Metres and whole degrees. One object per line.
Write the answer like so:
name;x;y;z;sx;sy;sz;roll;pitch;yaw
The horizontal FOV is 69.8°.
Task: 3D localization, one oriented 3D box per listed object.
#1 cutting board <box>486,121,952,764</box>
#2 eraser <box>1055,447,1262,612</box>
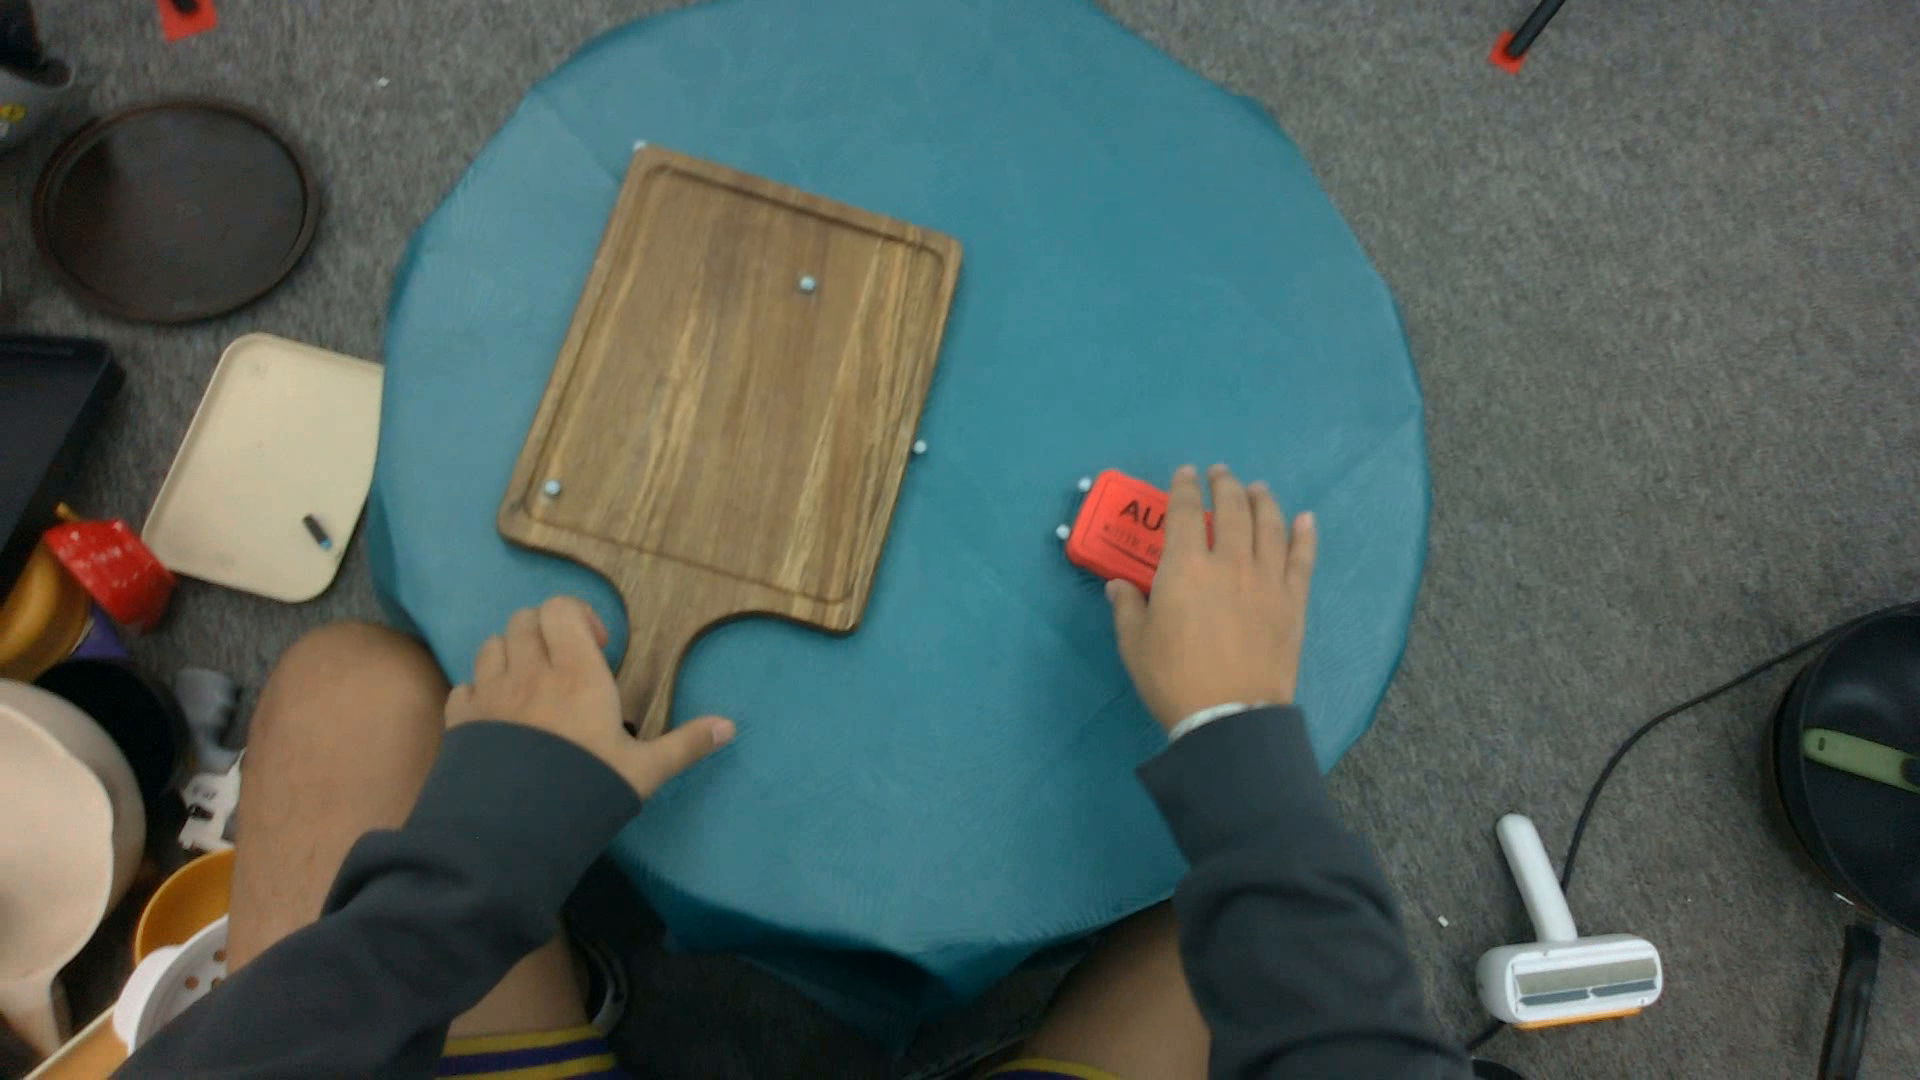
cutting board;-0.136;-0.053;0.744;0.201;0.023;0.353;16;72;-5
eraser;0.111;-0.006;0.769;0.108;0.023;0.059;25;71;-4
